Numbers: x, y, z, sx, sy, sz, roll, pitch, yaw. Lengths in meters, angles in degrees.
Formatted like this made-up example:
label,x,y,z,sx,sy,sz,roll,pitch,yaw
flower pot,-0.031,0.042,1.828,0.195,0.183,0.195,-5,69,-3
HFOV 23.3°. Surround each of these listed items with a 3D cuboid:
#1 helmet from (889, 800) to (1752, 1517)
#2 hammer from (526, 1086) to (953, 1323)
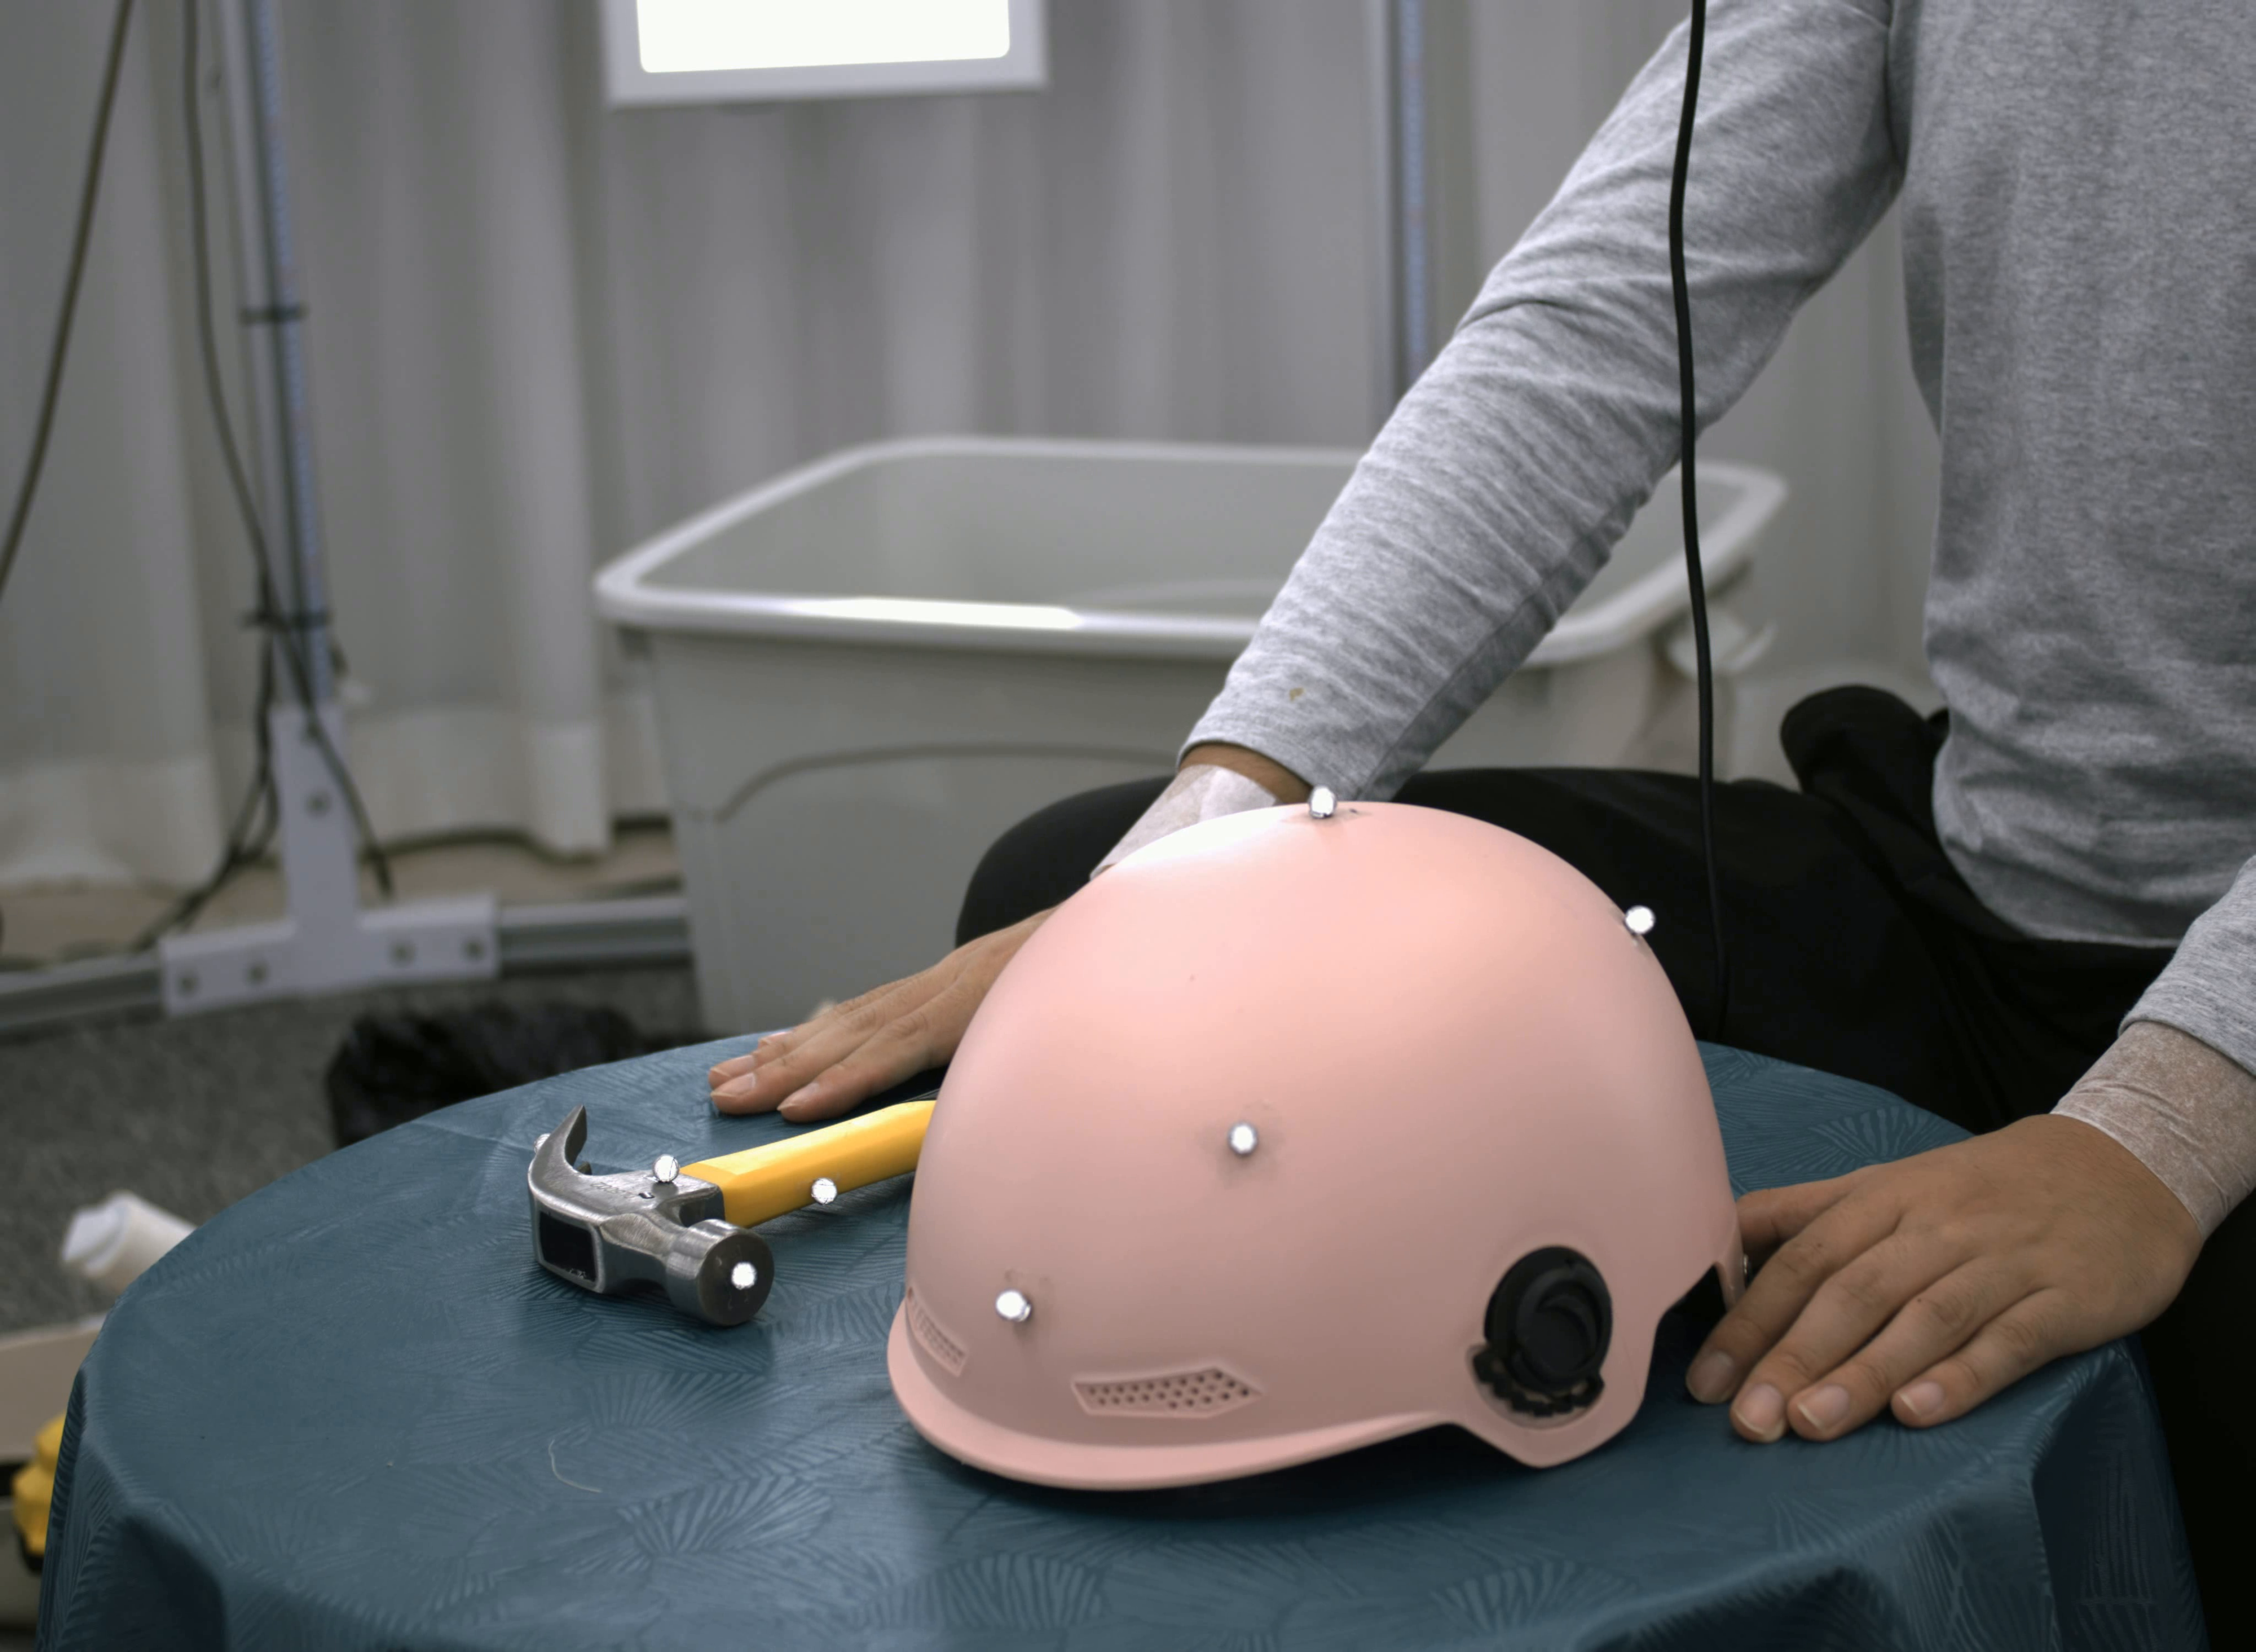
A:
label,x,y,z,sx,sy,sz,roll,pitch,yaw
helmet,0.048,0.080,1.545,0.235,0.158,0.266,10,23,41
hammer,-0.046,0.092,1.754,0.337,0.032,0.132,-15,18,-40
